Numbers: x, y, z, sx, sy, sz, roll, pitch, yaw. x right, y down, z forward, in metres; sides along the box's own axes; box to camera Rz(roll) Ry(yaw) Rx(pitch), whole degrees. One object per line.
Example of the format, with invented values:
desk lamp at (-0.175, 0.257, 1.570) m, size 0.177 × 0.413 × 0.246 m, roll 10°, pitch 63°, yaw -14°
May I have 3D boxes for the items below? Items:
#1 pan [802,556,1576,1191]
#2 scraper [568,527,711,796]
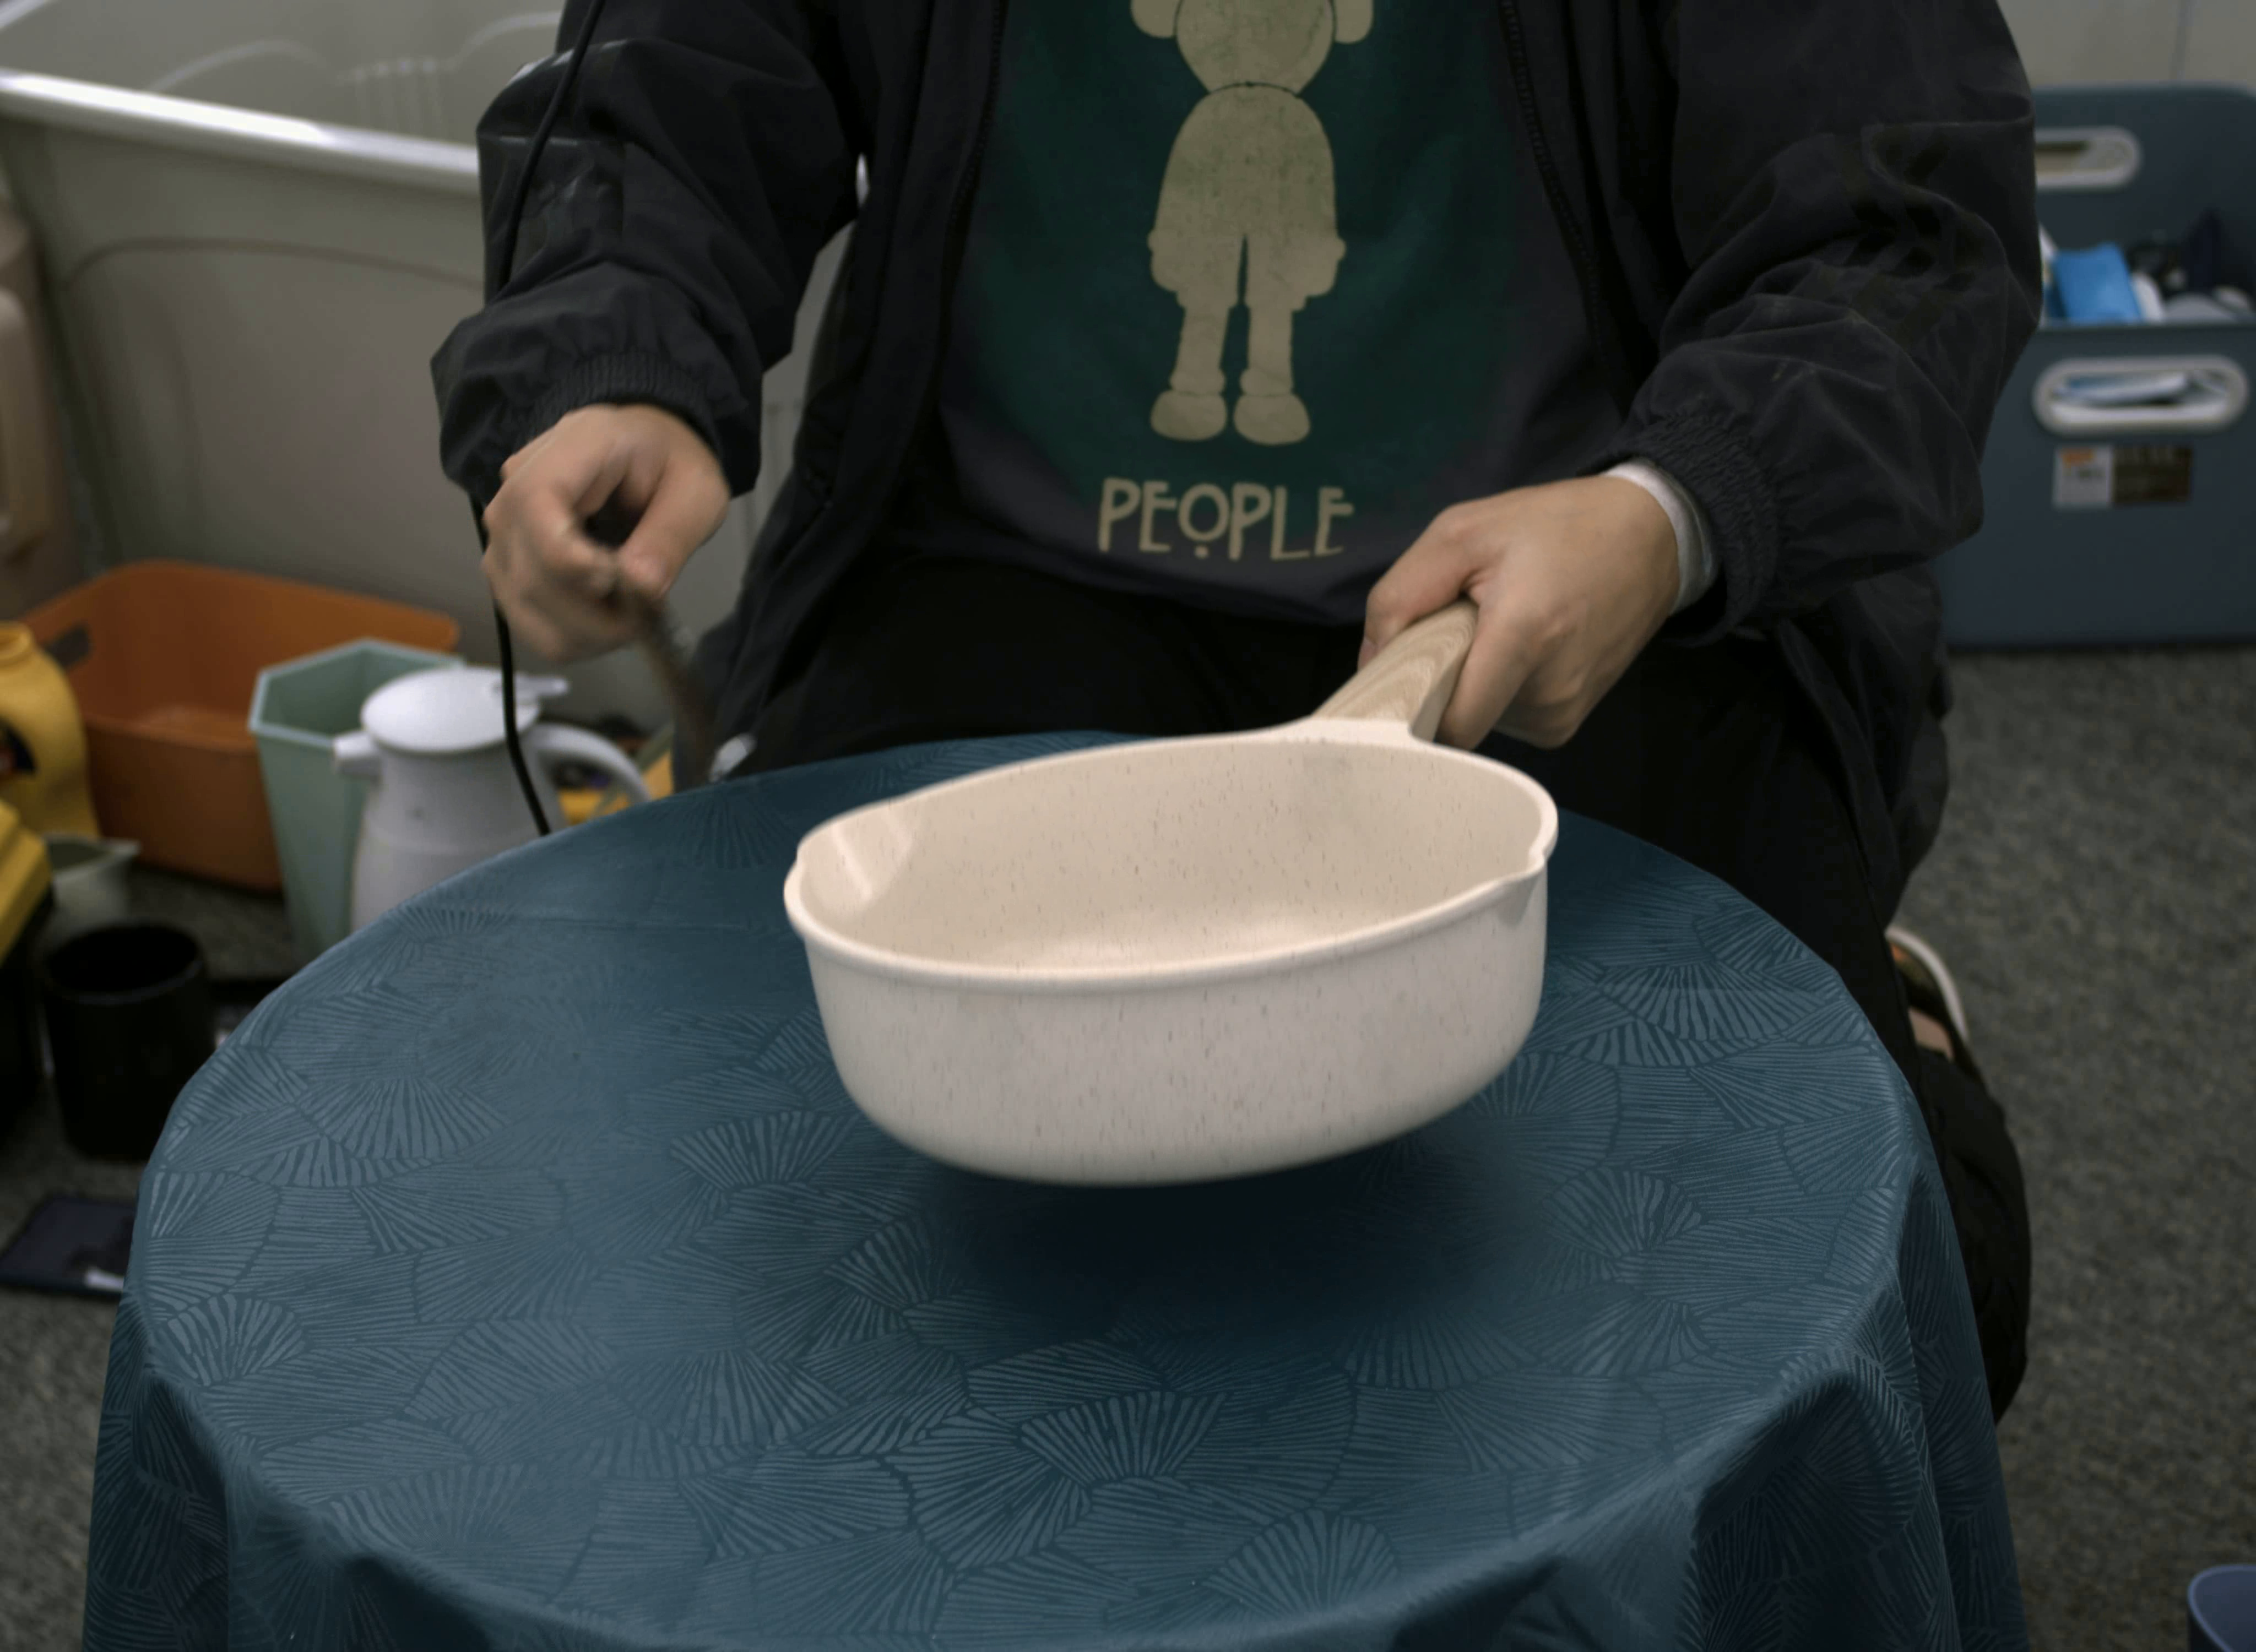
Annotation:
pan at (0.064, 0.014, 1.894) m, size 0.261 × 0.101 × 0.440 m, roll 0°, pitch 17°, yaw 28°
scraper at (-0.174, -0.067, 1.920) m, size 0.011 × 0.075 × 0.212 m, roll -26°, pitch 19°, yaw -3°
